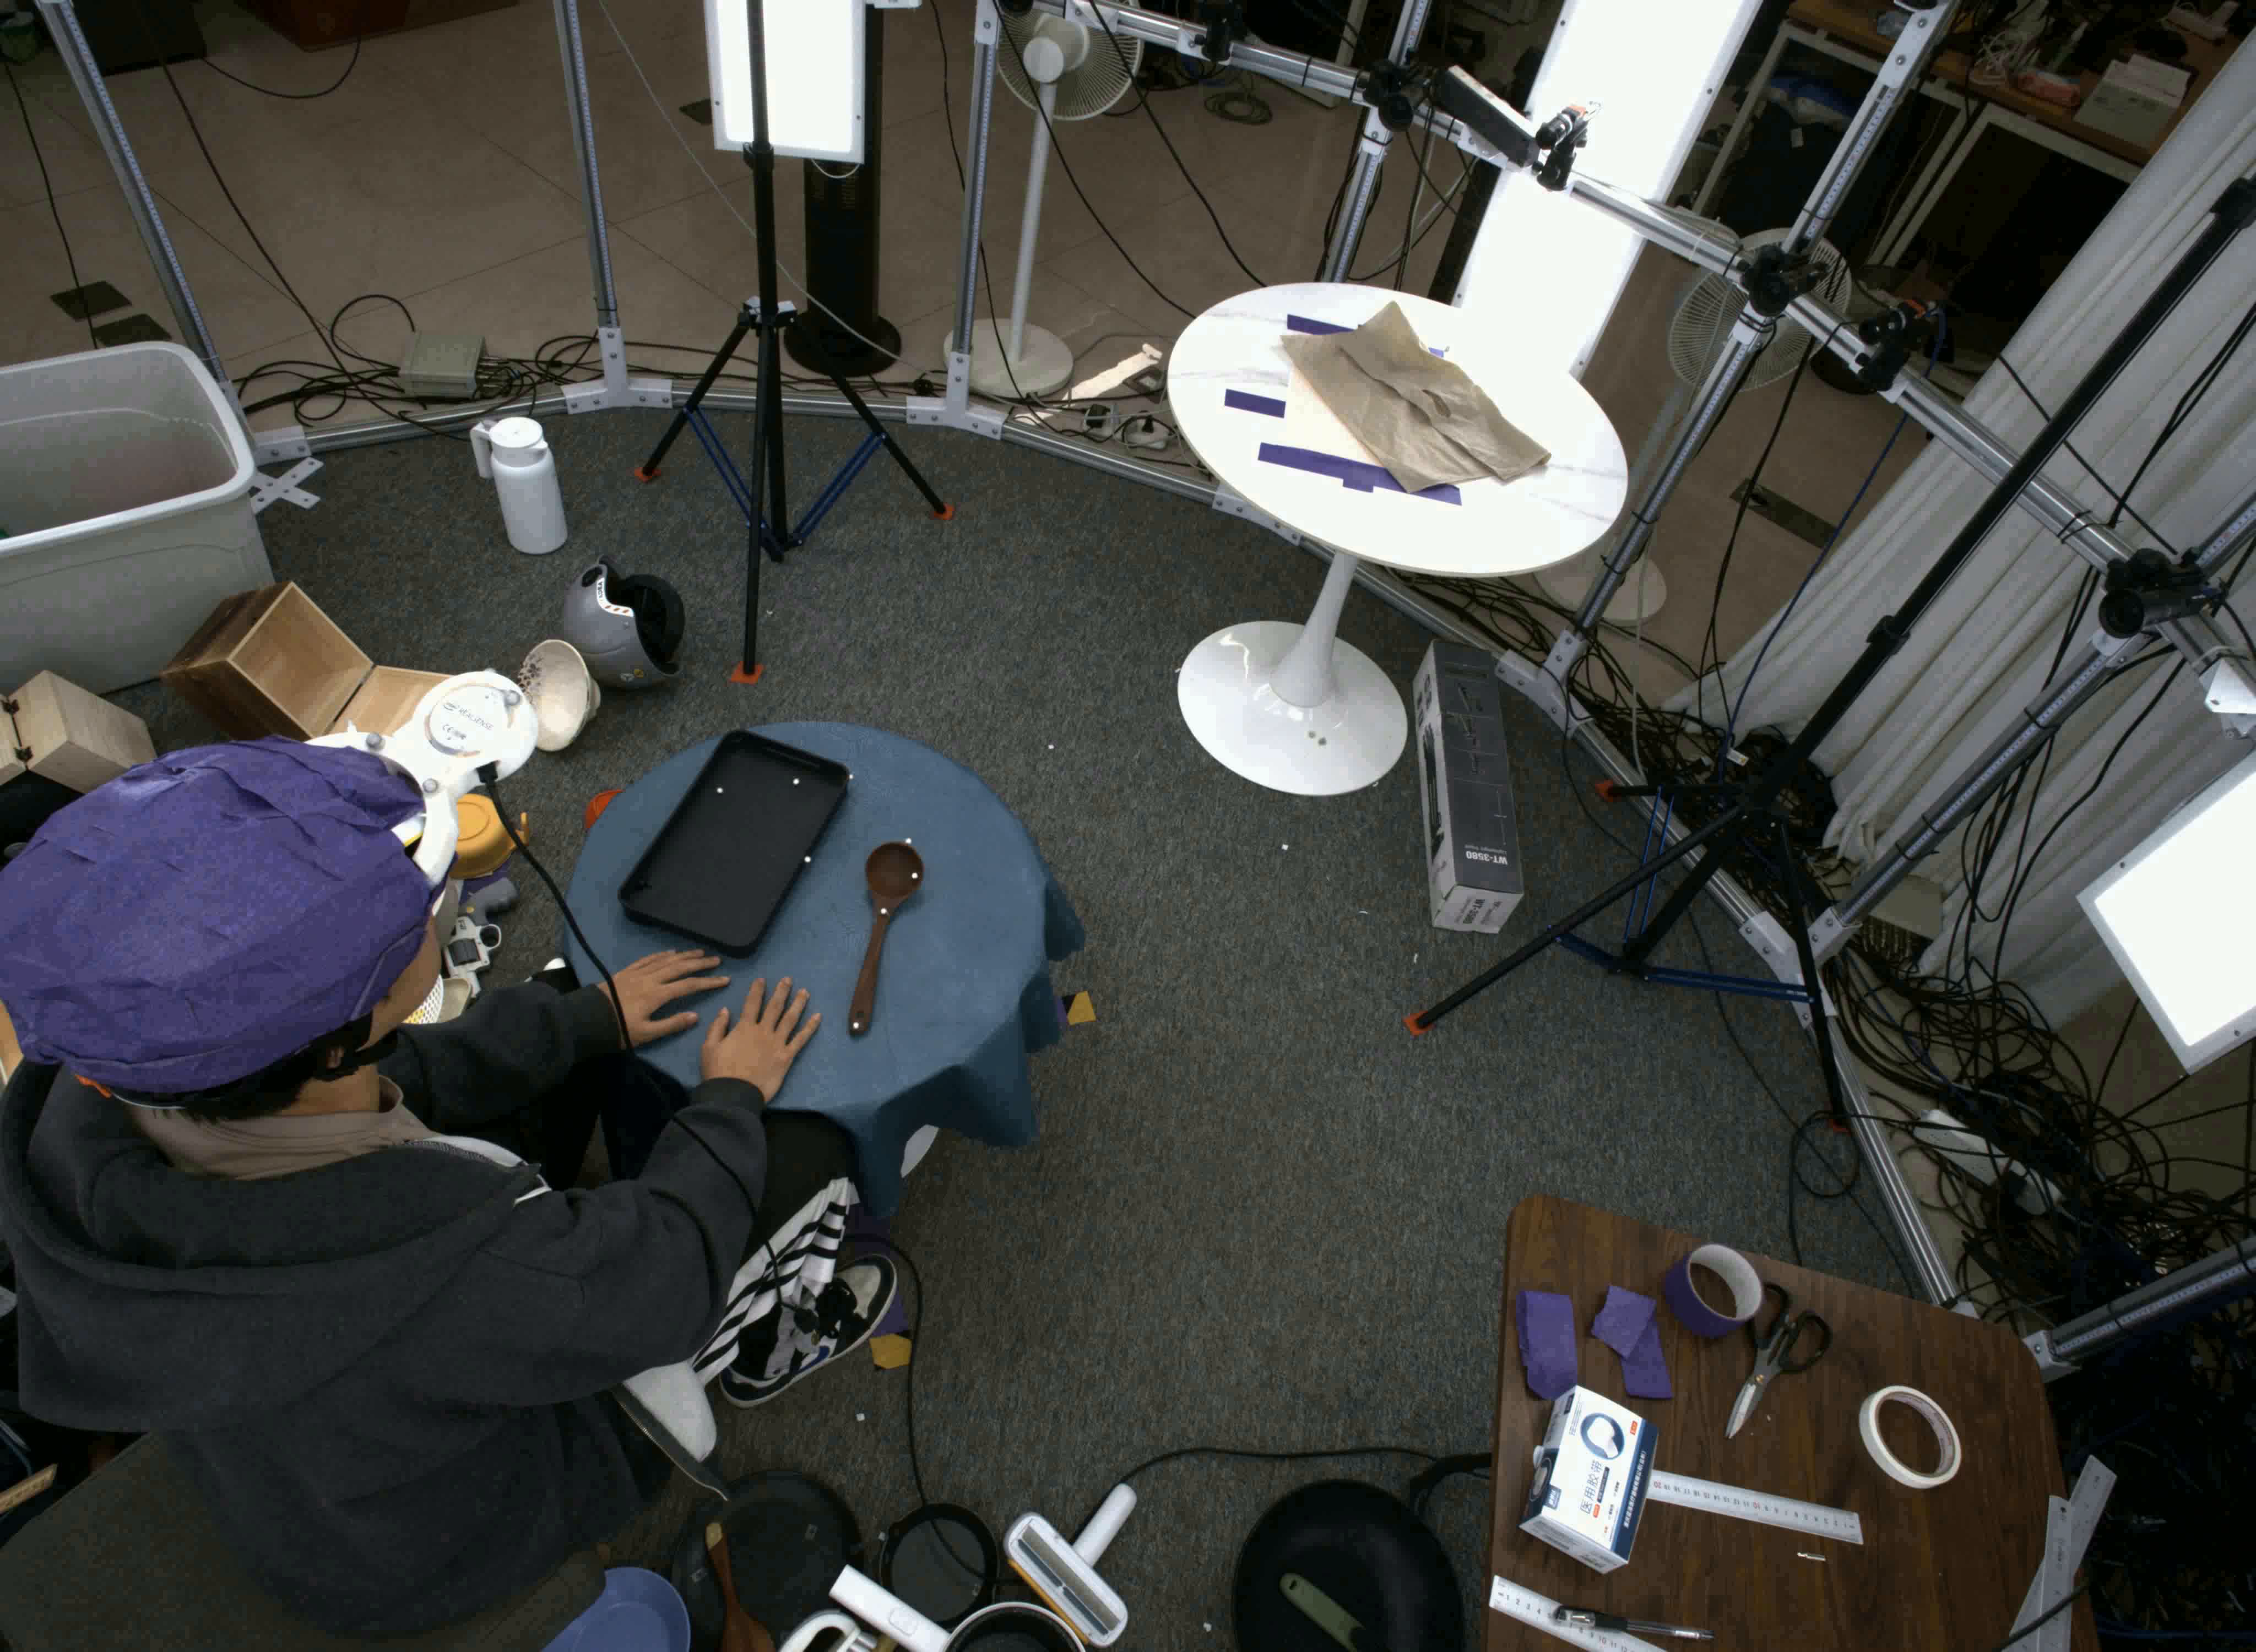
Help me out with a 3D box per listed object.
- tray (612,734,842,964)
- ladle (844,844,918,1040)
[{"bbox_3d":[-0.510,0.021,1.664,0.182,0.038,0.314,20,50,0],"label":"tray"},{"bbox_3d":[-0.317,0.136,1.613,0.076,0.066,0.256,10,52,-5],"label":"ladle"}]
